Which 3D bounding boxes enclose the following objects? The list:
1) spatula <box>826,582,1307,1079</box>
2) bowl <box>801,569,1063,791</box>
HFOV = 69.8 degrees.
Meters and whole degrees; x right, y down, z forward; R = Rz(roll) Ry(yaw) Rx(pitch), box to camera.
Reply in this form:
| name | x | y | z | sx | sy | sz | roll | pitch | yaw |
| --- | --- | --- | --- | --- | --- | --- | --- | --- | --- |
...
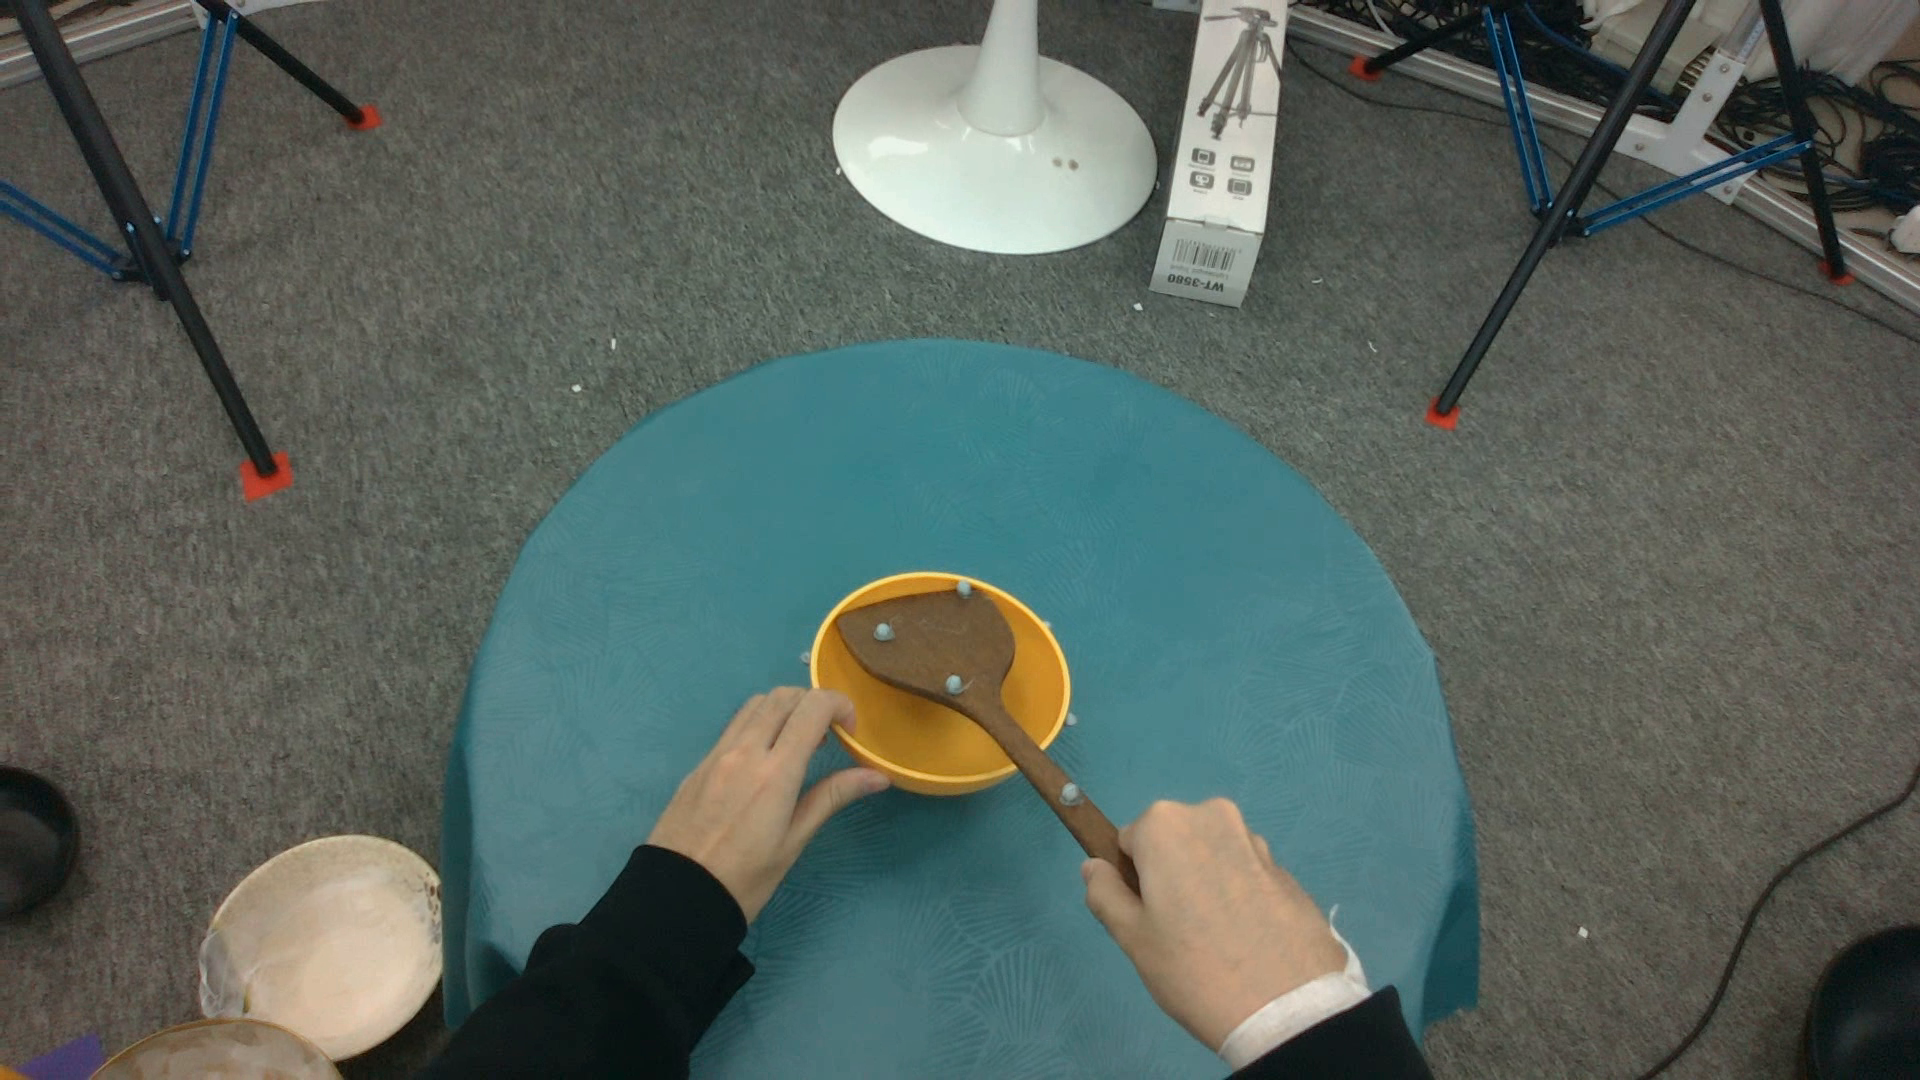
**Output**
| name | x | y | z | sx | sy | sz | roll | pitch | yaw |
| --- | --- | --- | --- | --- | --- | --- | --- | --- | --- |
| spatula | 0.039 | 0.110 | 0.643 | 0.096 | 0.016 | 0.386 | -10 | 28 | -22 |
| bowl | -0.018 | 0.088 | 0.776 | 0.145 | 0.060 | 0.146 | 5 | 46 | -5 |
